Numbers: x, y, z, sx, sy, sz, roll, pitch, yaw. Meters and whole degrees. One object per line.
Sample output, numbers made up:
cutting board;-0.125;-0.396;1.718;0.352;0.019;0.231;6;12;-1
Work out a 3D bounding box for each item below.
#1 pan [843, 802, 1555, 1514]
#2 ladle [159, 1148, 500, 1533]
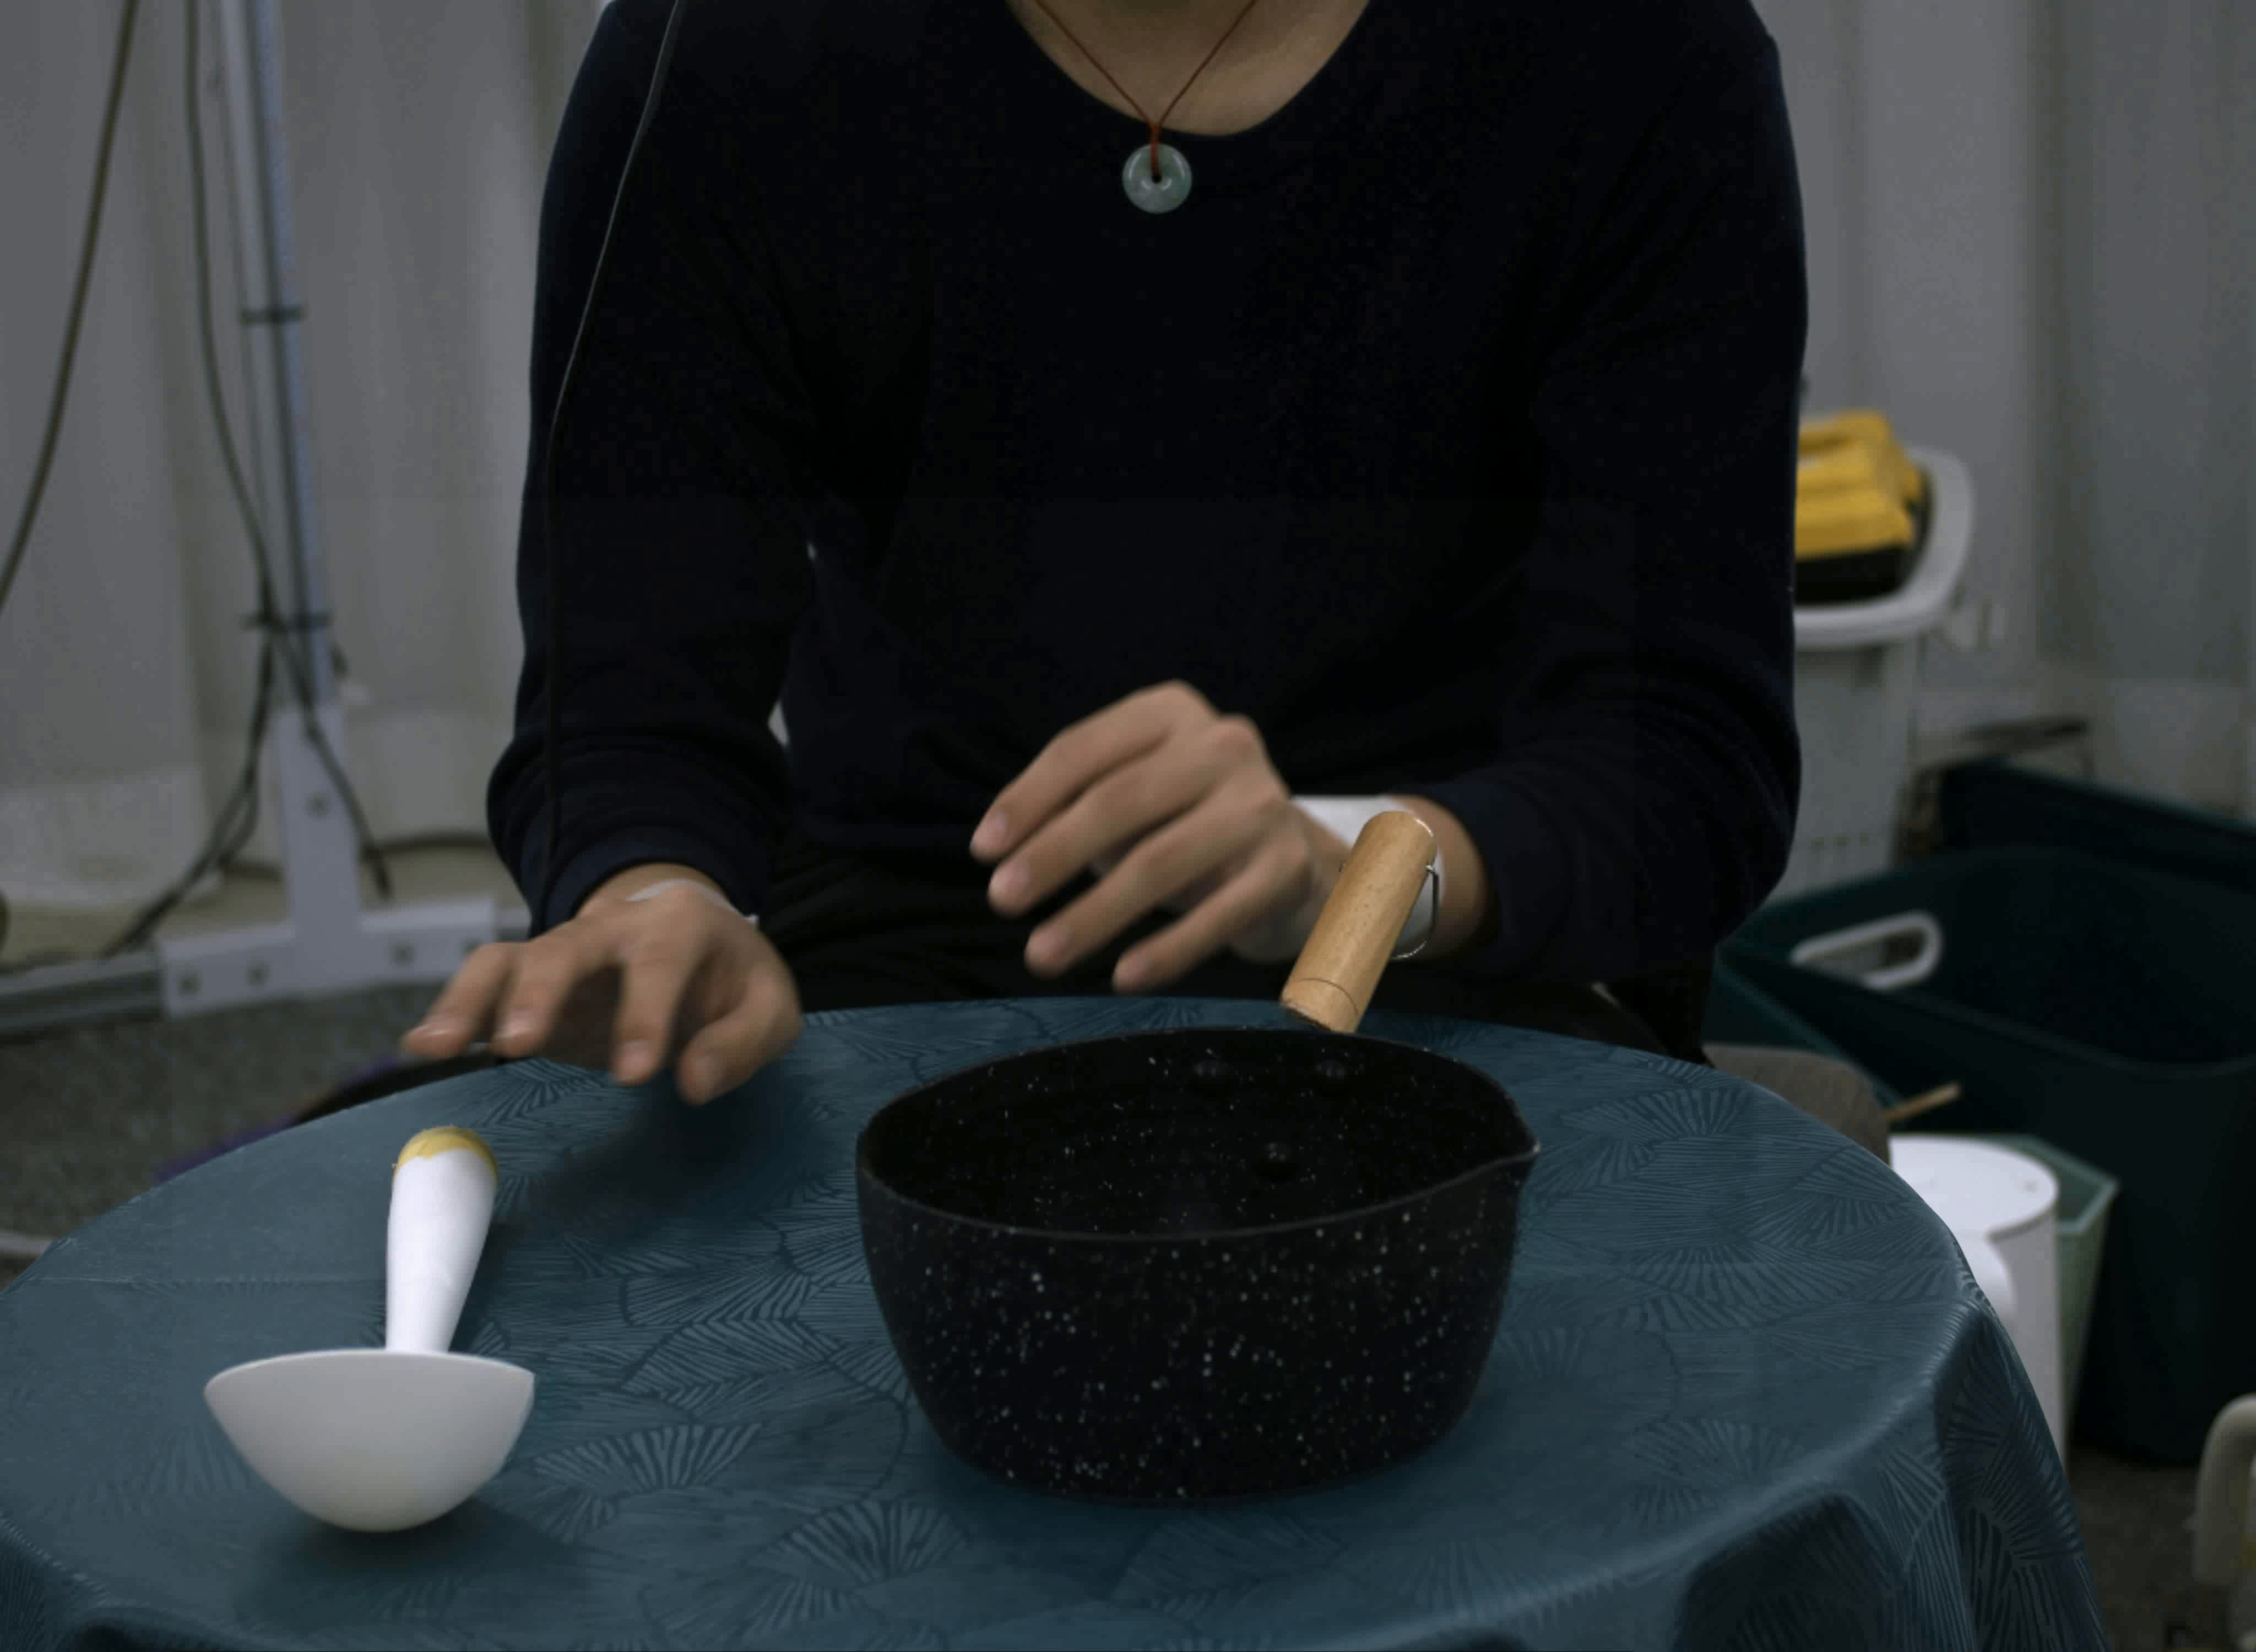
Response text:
pan;0.039;0.091;1.590;0.207;0.108;0.344;0;16;16
ladle;-0.213;0.132;1.570;0.090;0.069;0.295;-9;14;1
